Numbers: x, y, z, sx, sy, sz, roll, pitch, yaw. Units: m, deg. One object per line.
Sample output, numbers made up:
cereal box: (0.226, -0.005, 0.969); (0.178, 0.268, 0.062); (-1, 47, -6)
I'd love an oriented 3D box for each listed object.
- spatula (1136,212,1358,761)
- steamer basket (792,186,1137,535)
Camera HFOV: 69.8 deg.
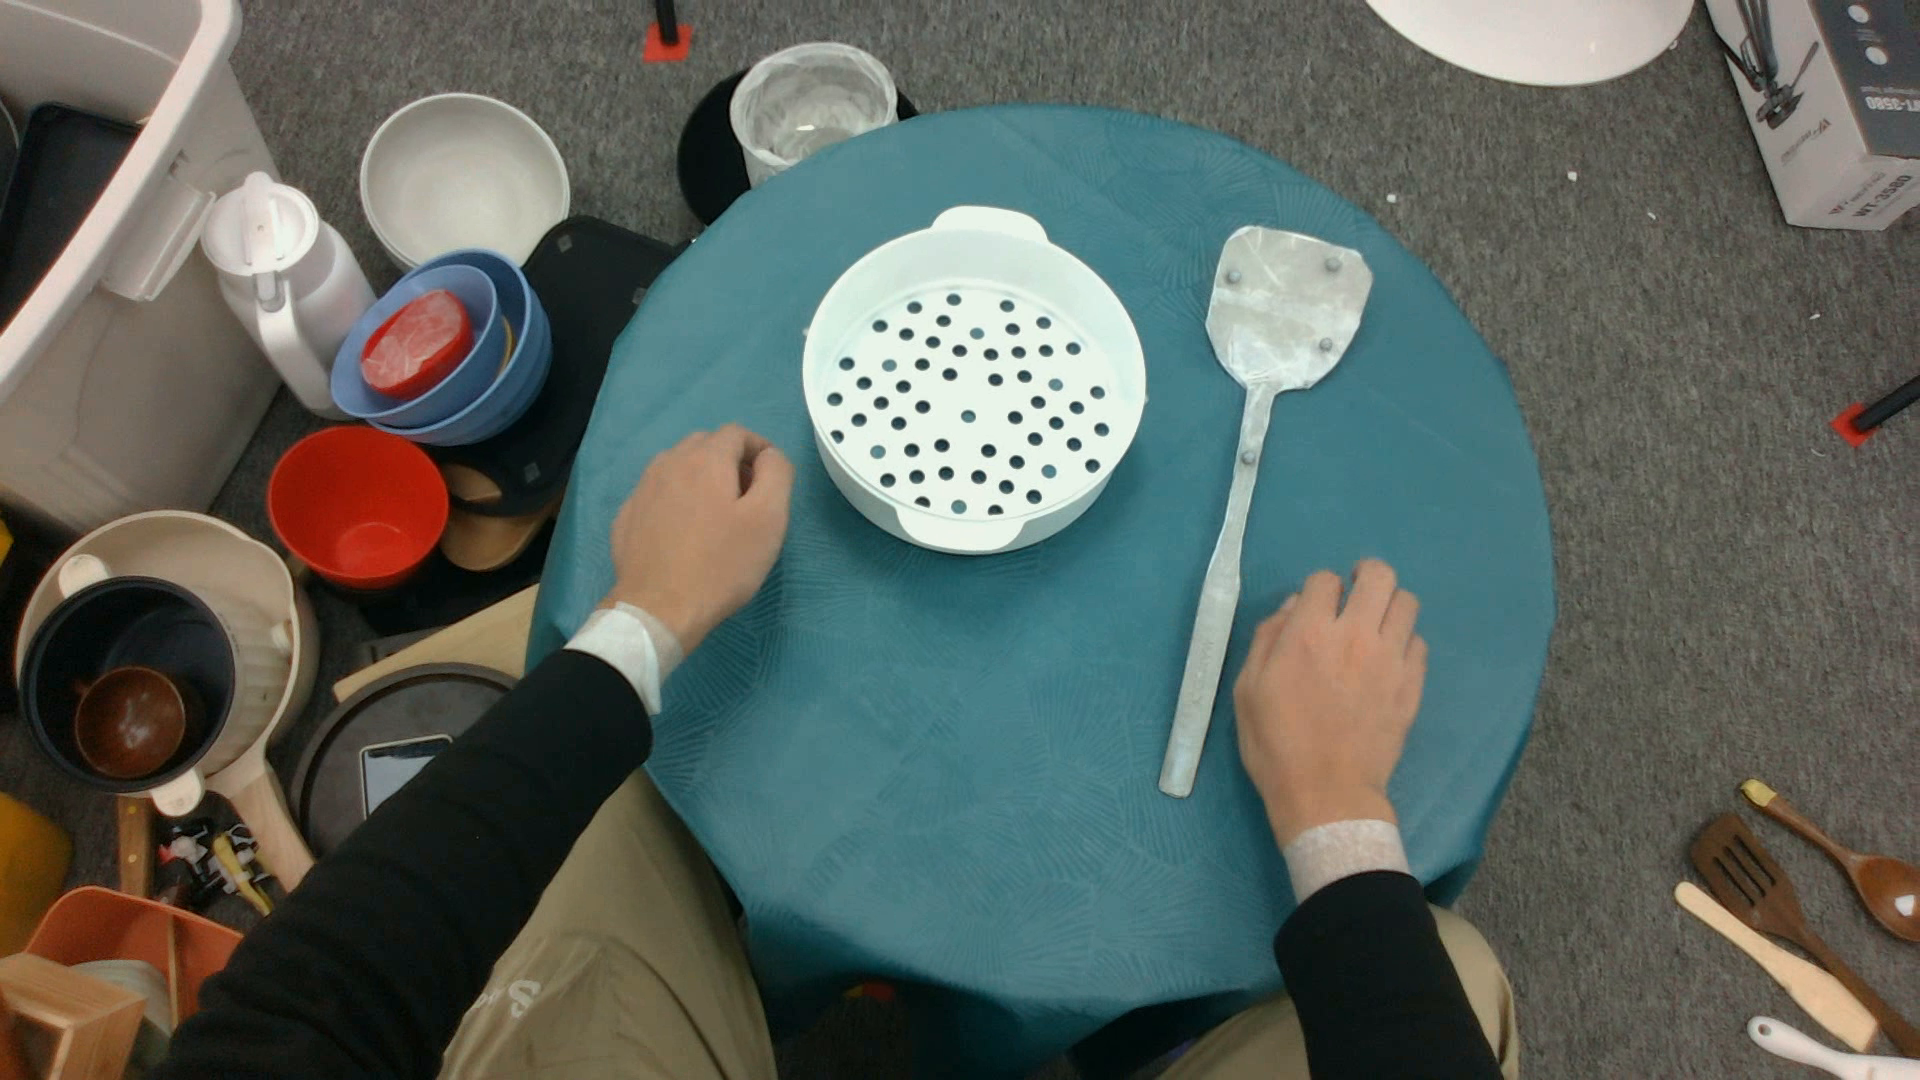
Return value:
spatula: (0.163, -0.039, 0.834); (0.099, 0.044, 0.366); (17, 66, 0)
steamer basket: (0.002, -0.101, 0.829); (0.202, 0.069, 0.231); (7, 67, -1)
